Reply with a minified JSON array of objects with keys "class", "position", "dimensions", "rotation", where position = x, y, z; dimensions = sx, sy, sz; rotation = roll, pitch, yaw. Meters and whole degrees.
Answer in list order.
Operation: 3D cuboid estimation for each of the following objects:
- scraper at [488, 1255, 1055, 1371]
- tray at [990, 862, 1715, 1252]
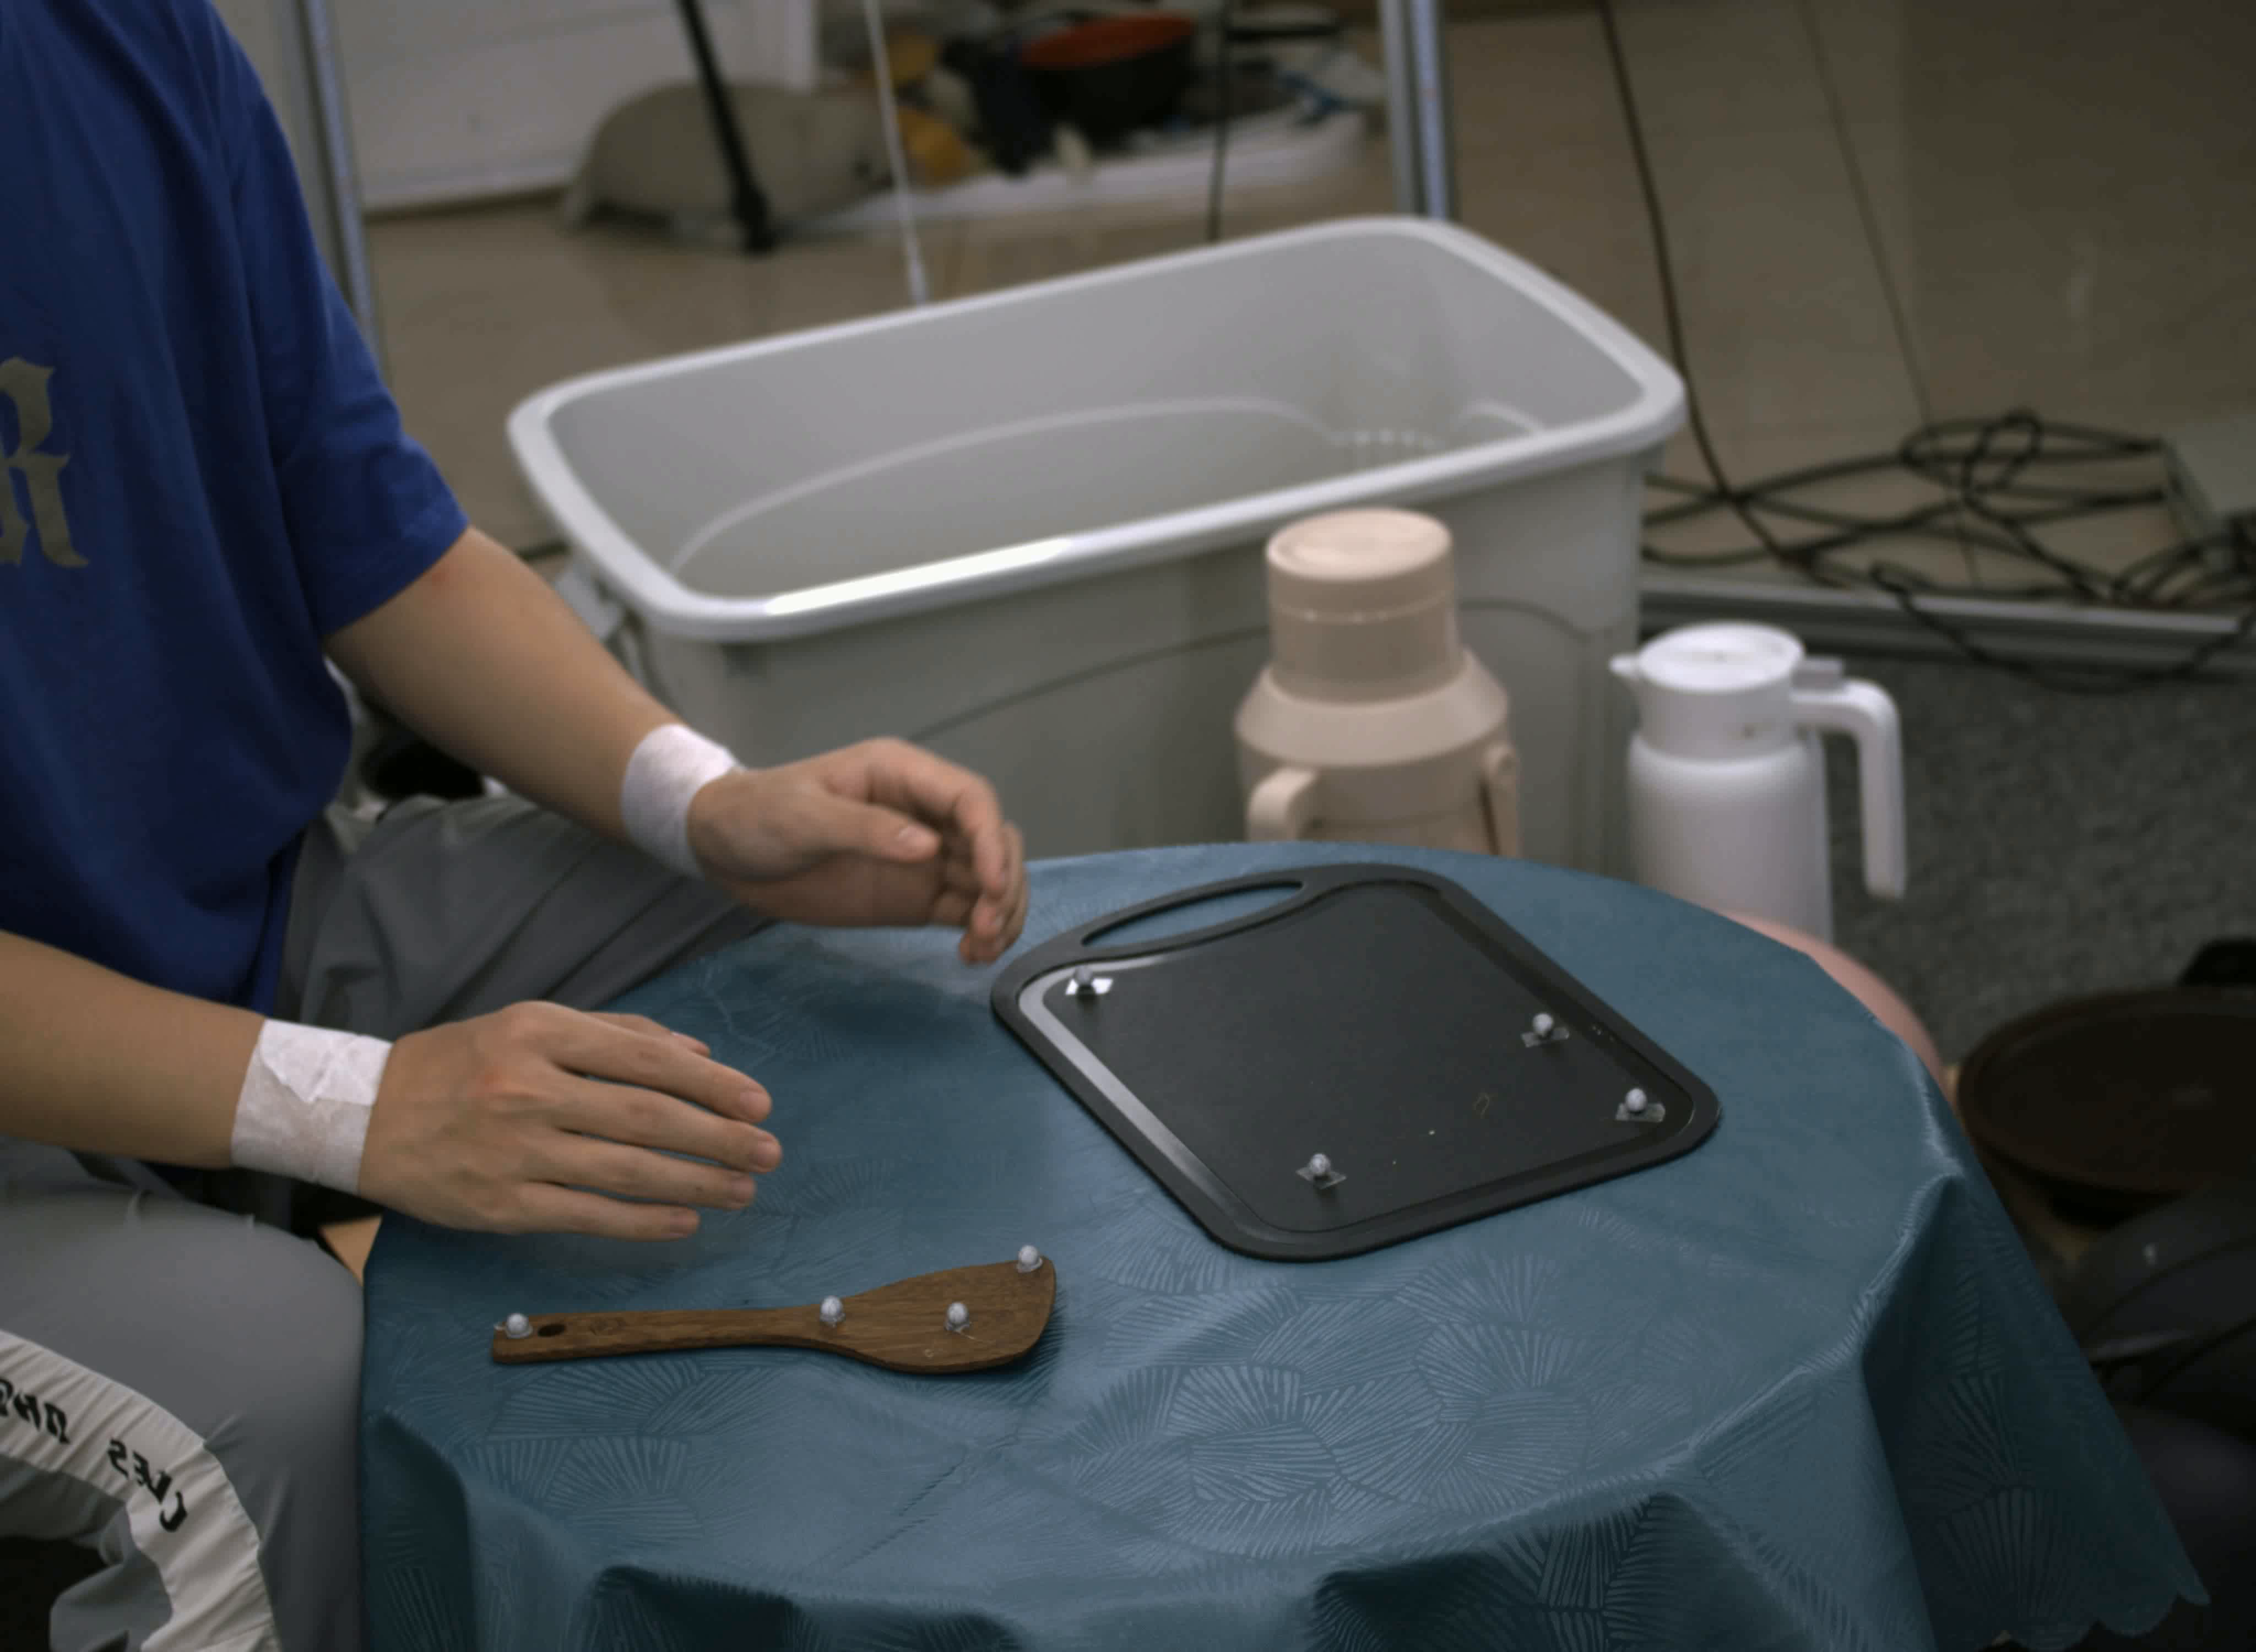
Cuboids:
[{"class":"scraper","position":[-0.131,0.182,2.075],"dimensions":[0.211,0.011,0.075],"rotation":[-4,24,9]},{"class":"tray","position":[0.079,0.083,2.240],"dimensions":[0.210,0.010,0.321],"rotation":[-15,26,-18]}]
